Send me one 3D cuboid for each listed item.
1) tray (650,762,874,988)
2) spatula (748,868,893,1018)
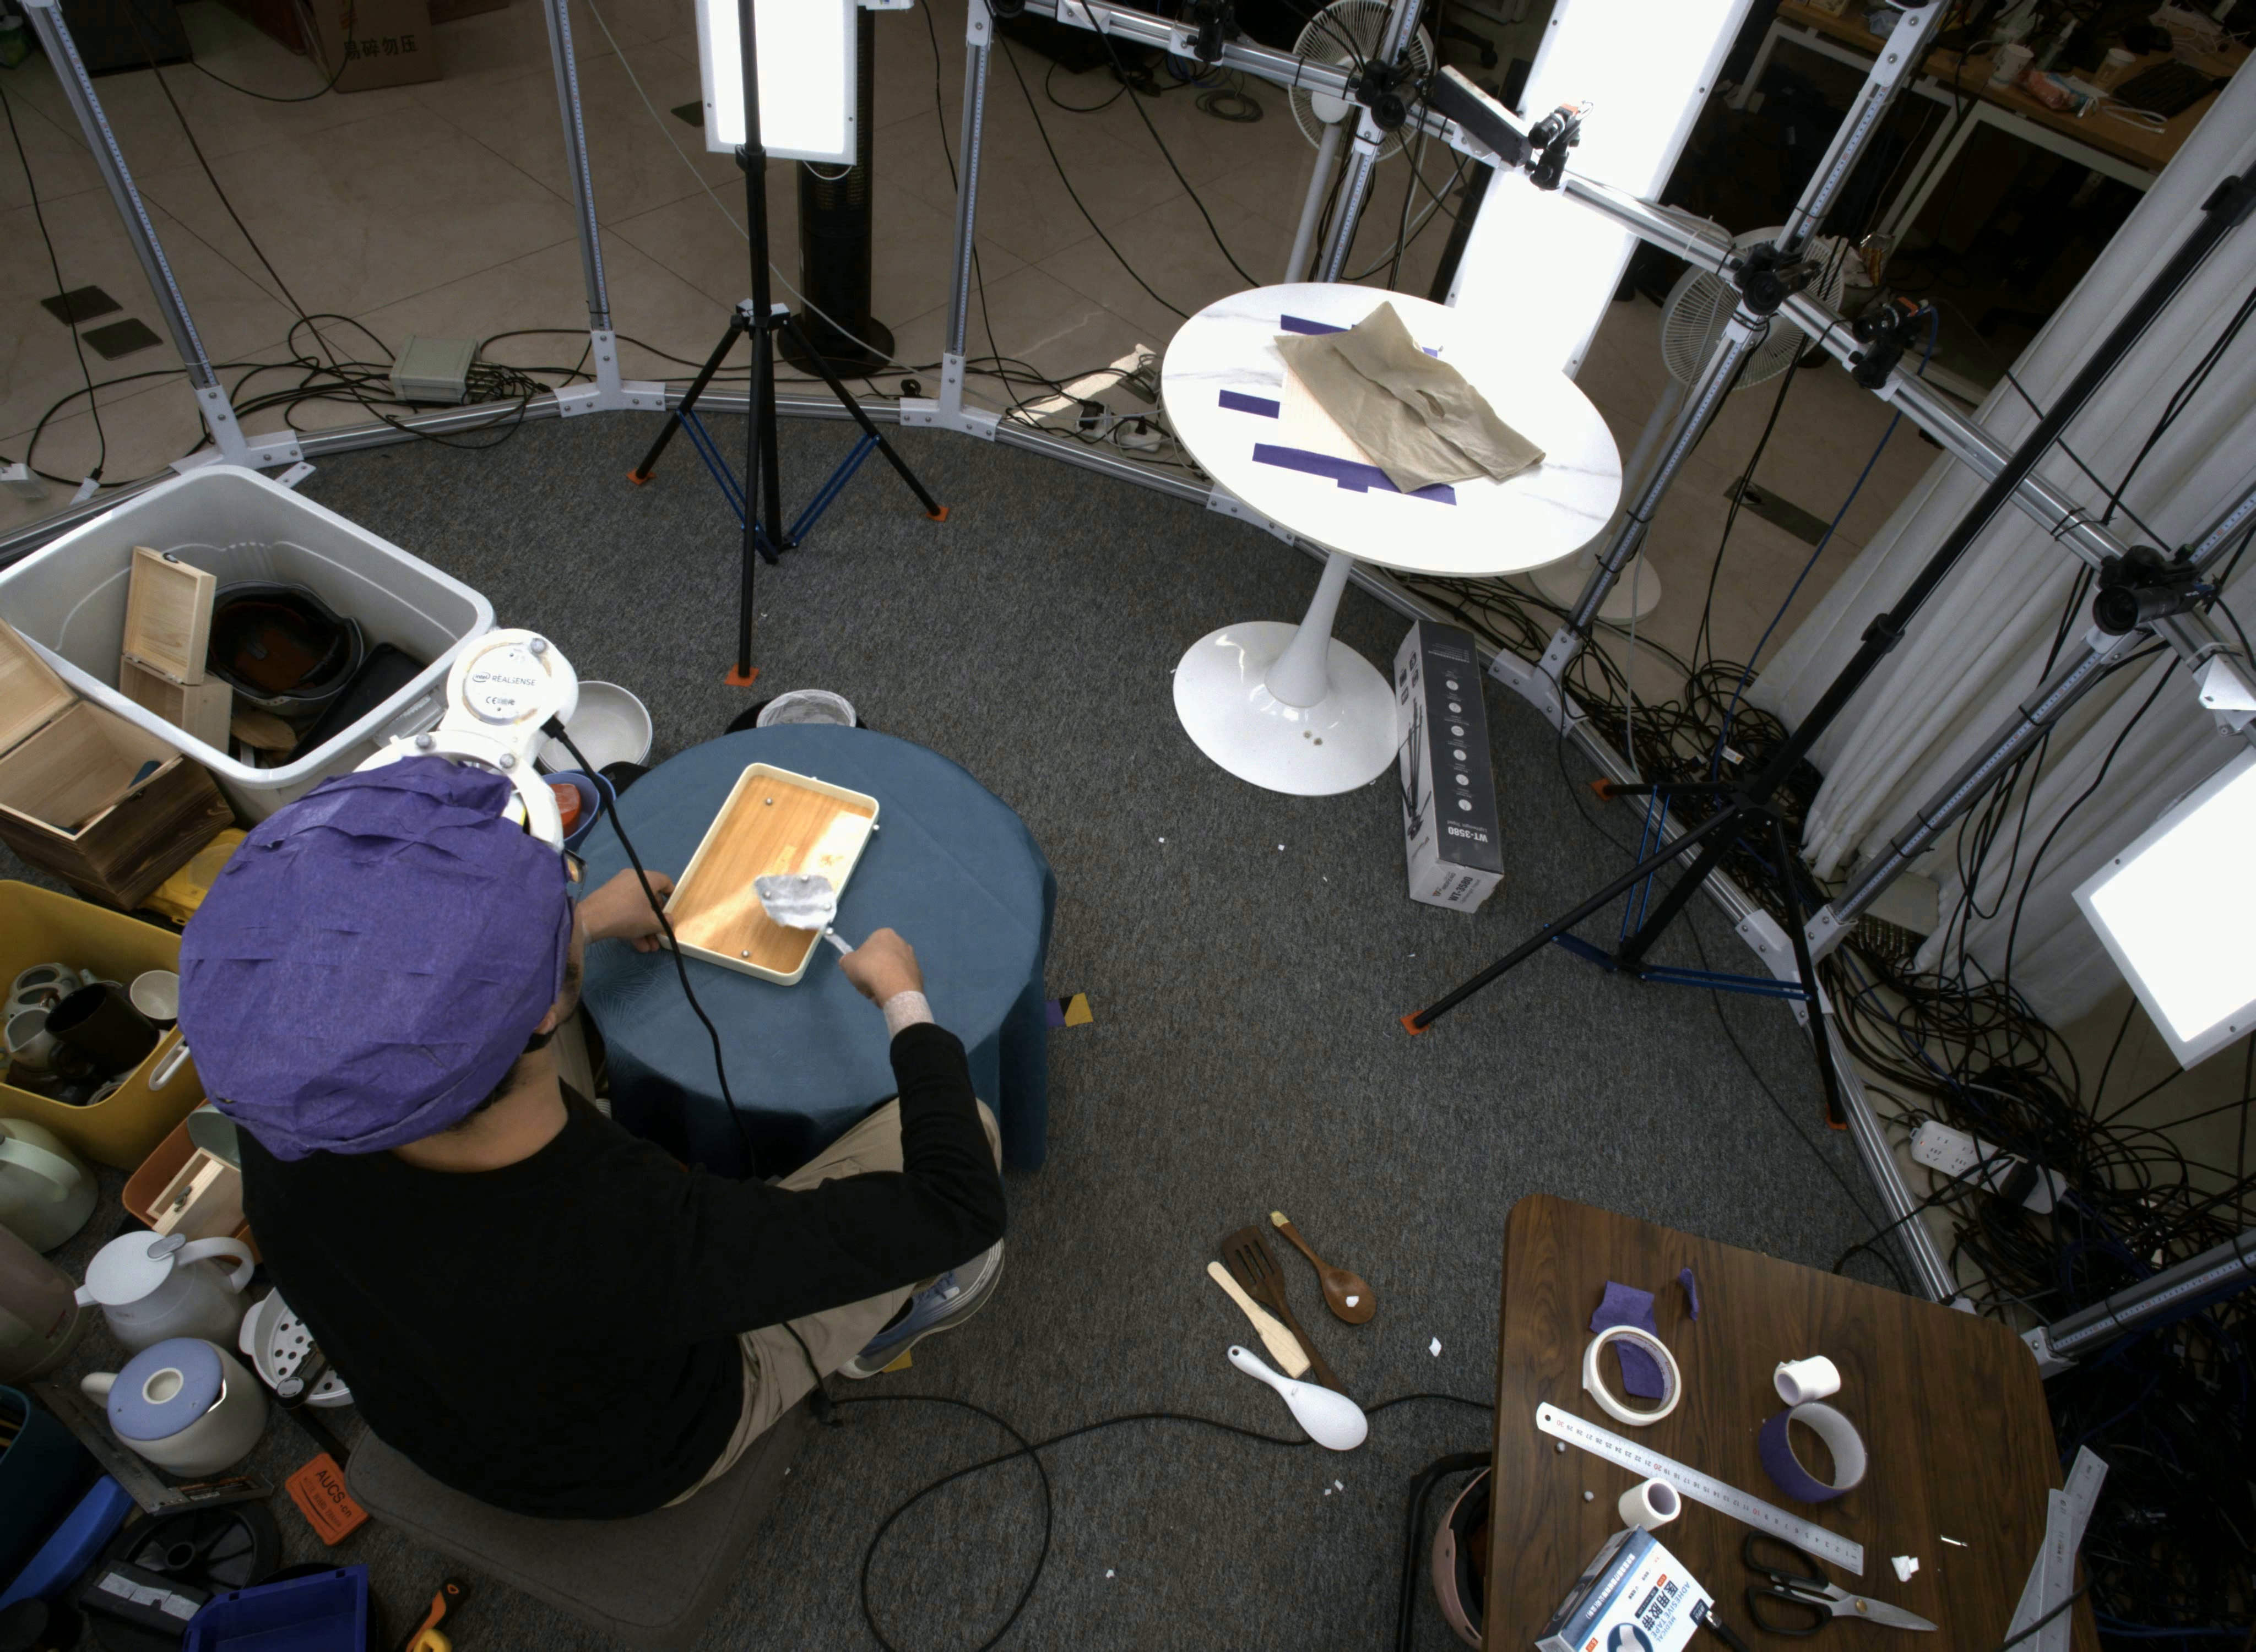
[{"bbox_3d":[-0.461,0.054,1.651,0.190,0.028,0.297,18,52,-1],"label":"tray"},{"bbox_3d":[-0.337,0.123,1.477,0.100,0.046,0.351,0,17,-35],"label":"spatula"}]
